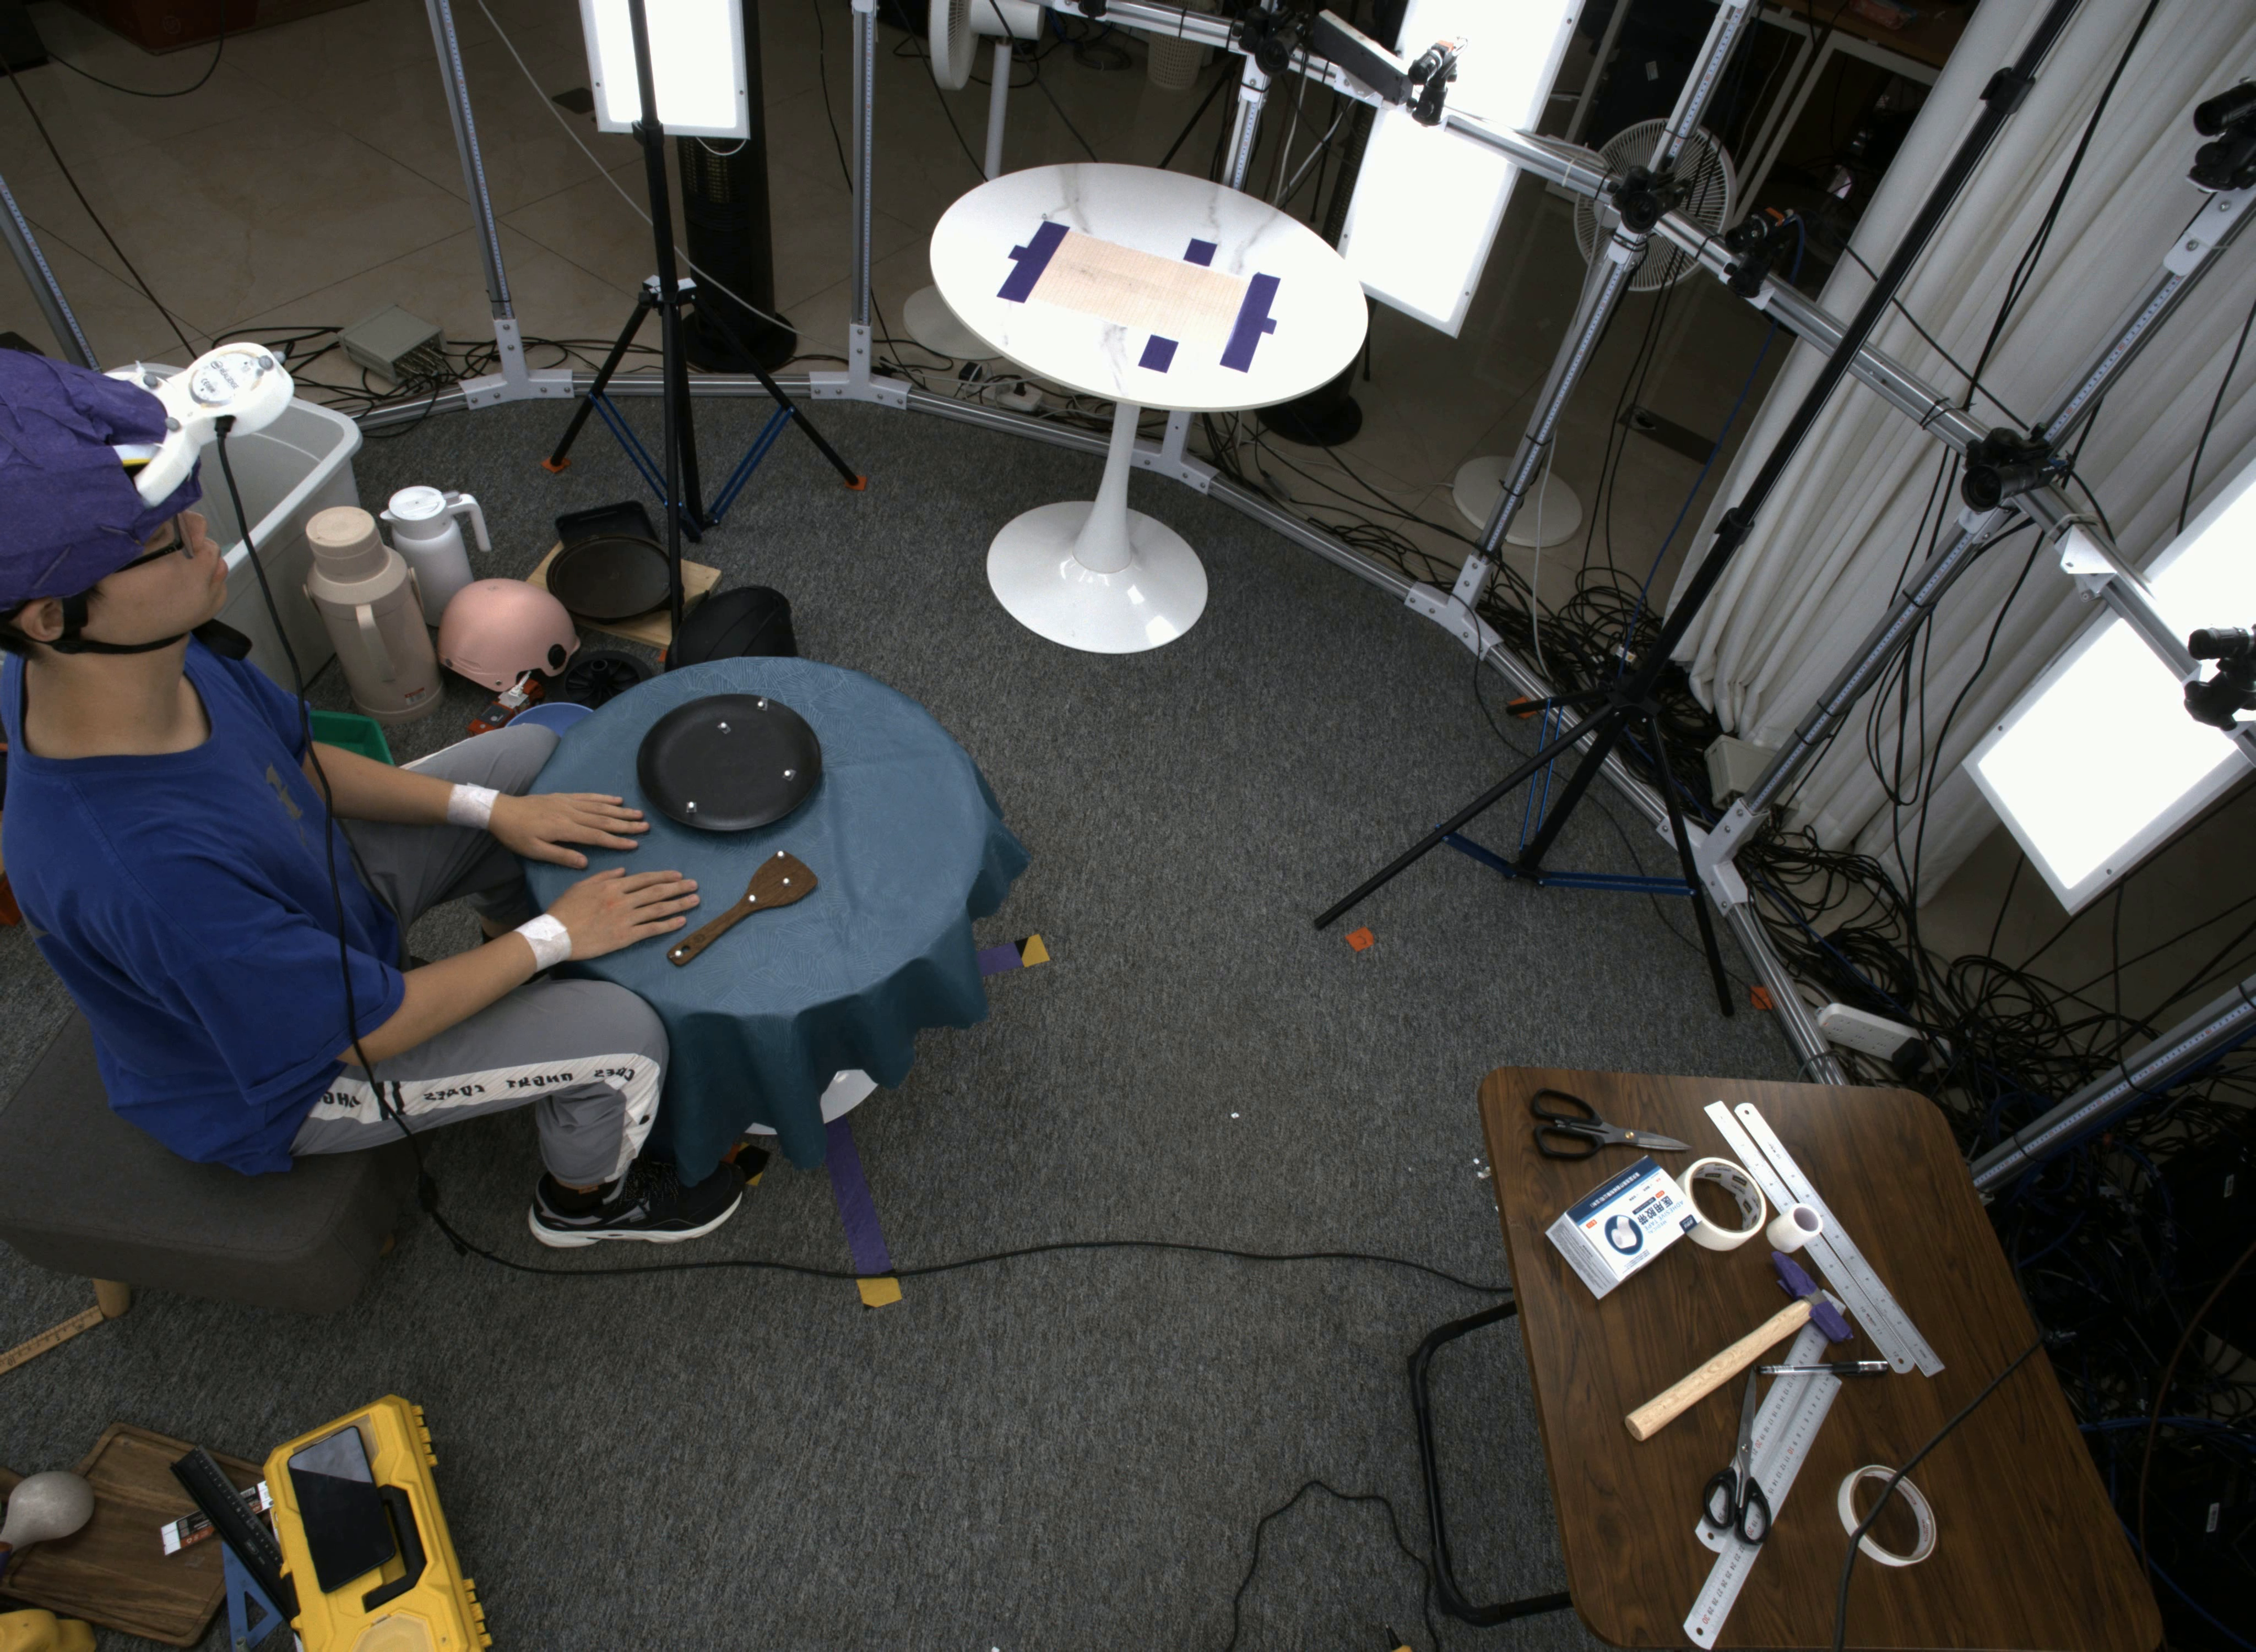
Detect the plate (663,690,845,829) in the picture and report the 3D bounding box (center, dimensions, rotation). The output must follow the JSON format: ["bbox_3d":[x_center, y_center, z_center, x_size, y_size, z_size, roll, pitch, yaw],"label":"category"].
[{"bbox_3d":[-0.509,-0.089,1.763,0.244,0.024,0.240,8,53,-9],"label":"plate"}]

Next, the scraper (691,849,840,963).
[{"bbox_3d":[-0.464,0.103,1.642,0.074,0.011,0.211,40,56,17],"label":"scraper"}]
